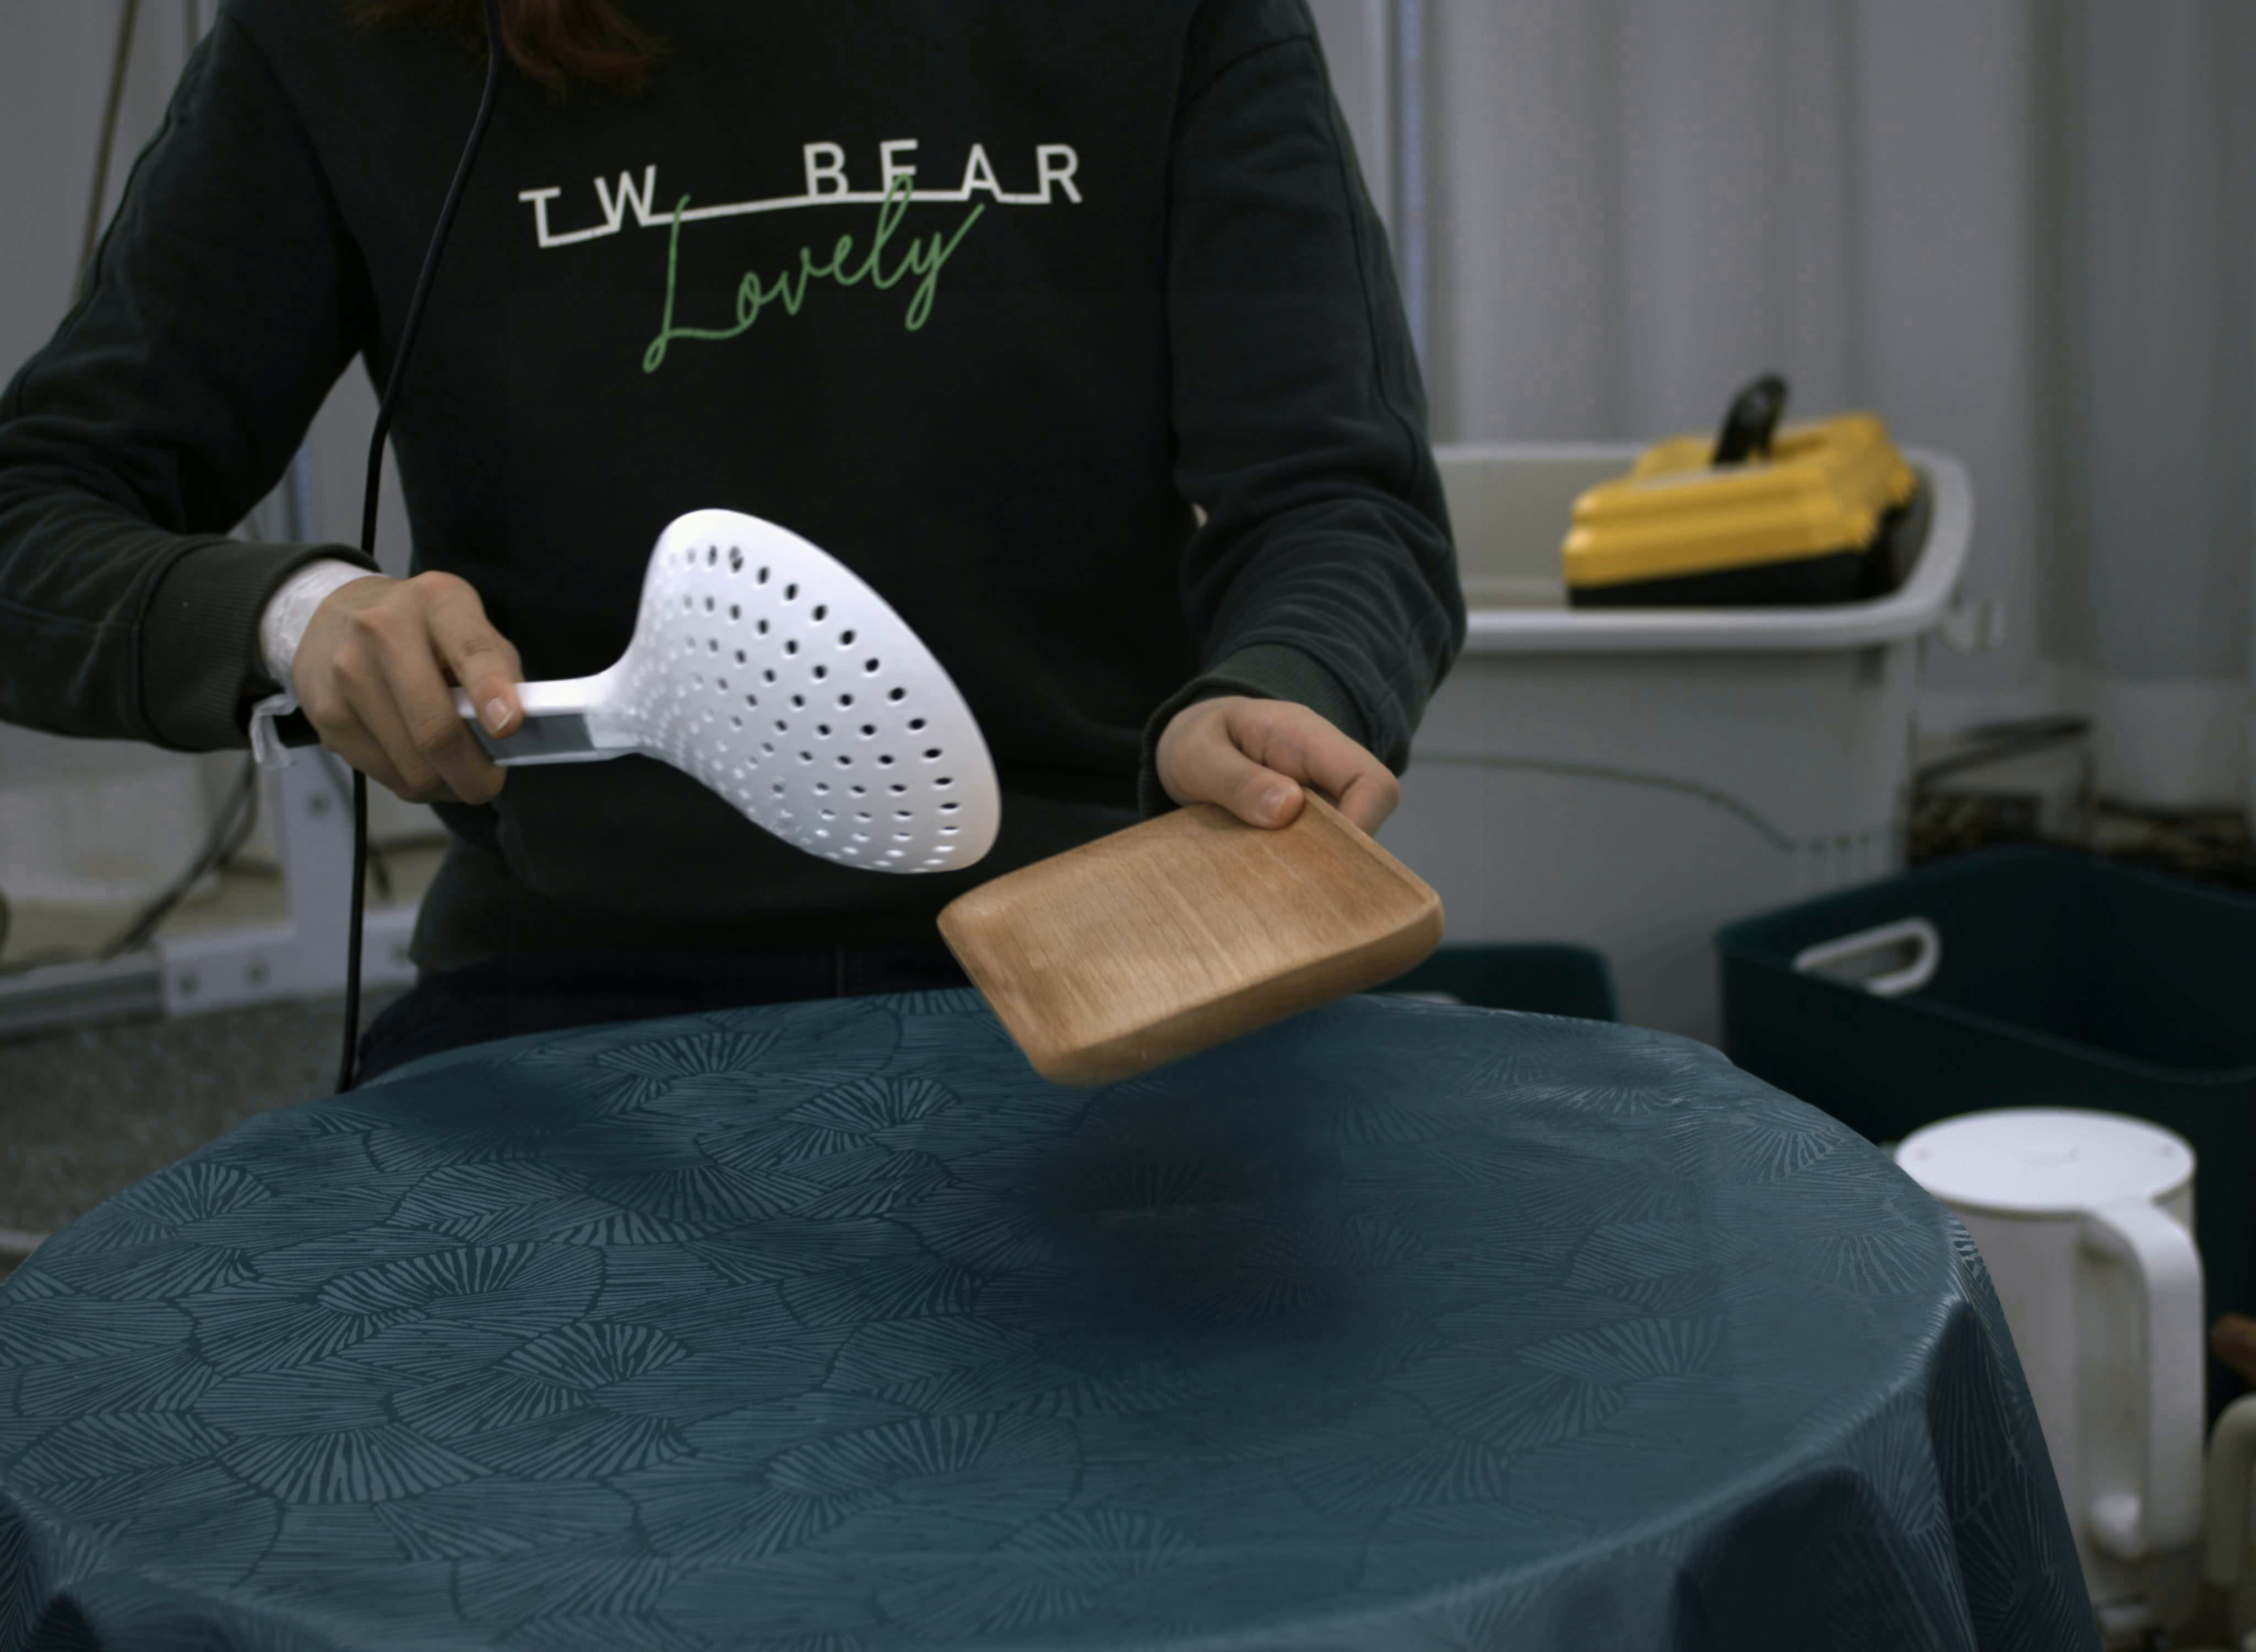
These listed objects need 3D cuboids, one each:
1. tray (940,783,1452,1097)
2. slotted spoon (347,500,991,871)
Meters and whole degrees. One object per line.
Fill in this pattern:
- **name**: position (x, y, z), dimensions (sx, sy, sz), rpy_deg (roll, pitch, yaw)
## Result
- **tray**: position (0.017, 0.032, 1.645), dimensions (0.130, 0.023, 0.252), rpy_deg (-18, 11, -5)
- **slotted spoon**: position (-0.158, -0.035, 1.724), dimensions (0.046, 0.135, 0.351), rpy_deg (-41, 21, -24)
